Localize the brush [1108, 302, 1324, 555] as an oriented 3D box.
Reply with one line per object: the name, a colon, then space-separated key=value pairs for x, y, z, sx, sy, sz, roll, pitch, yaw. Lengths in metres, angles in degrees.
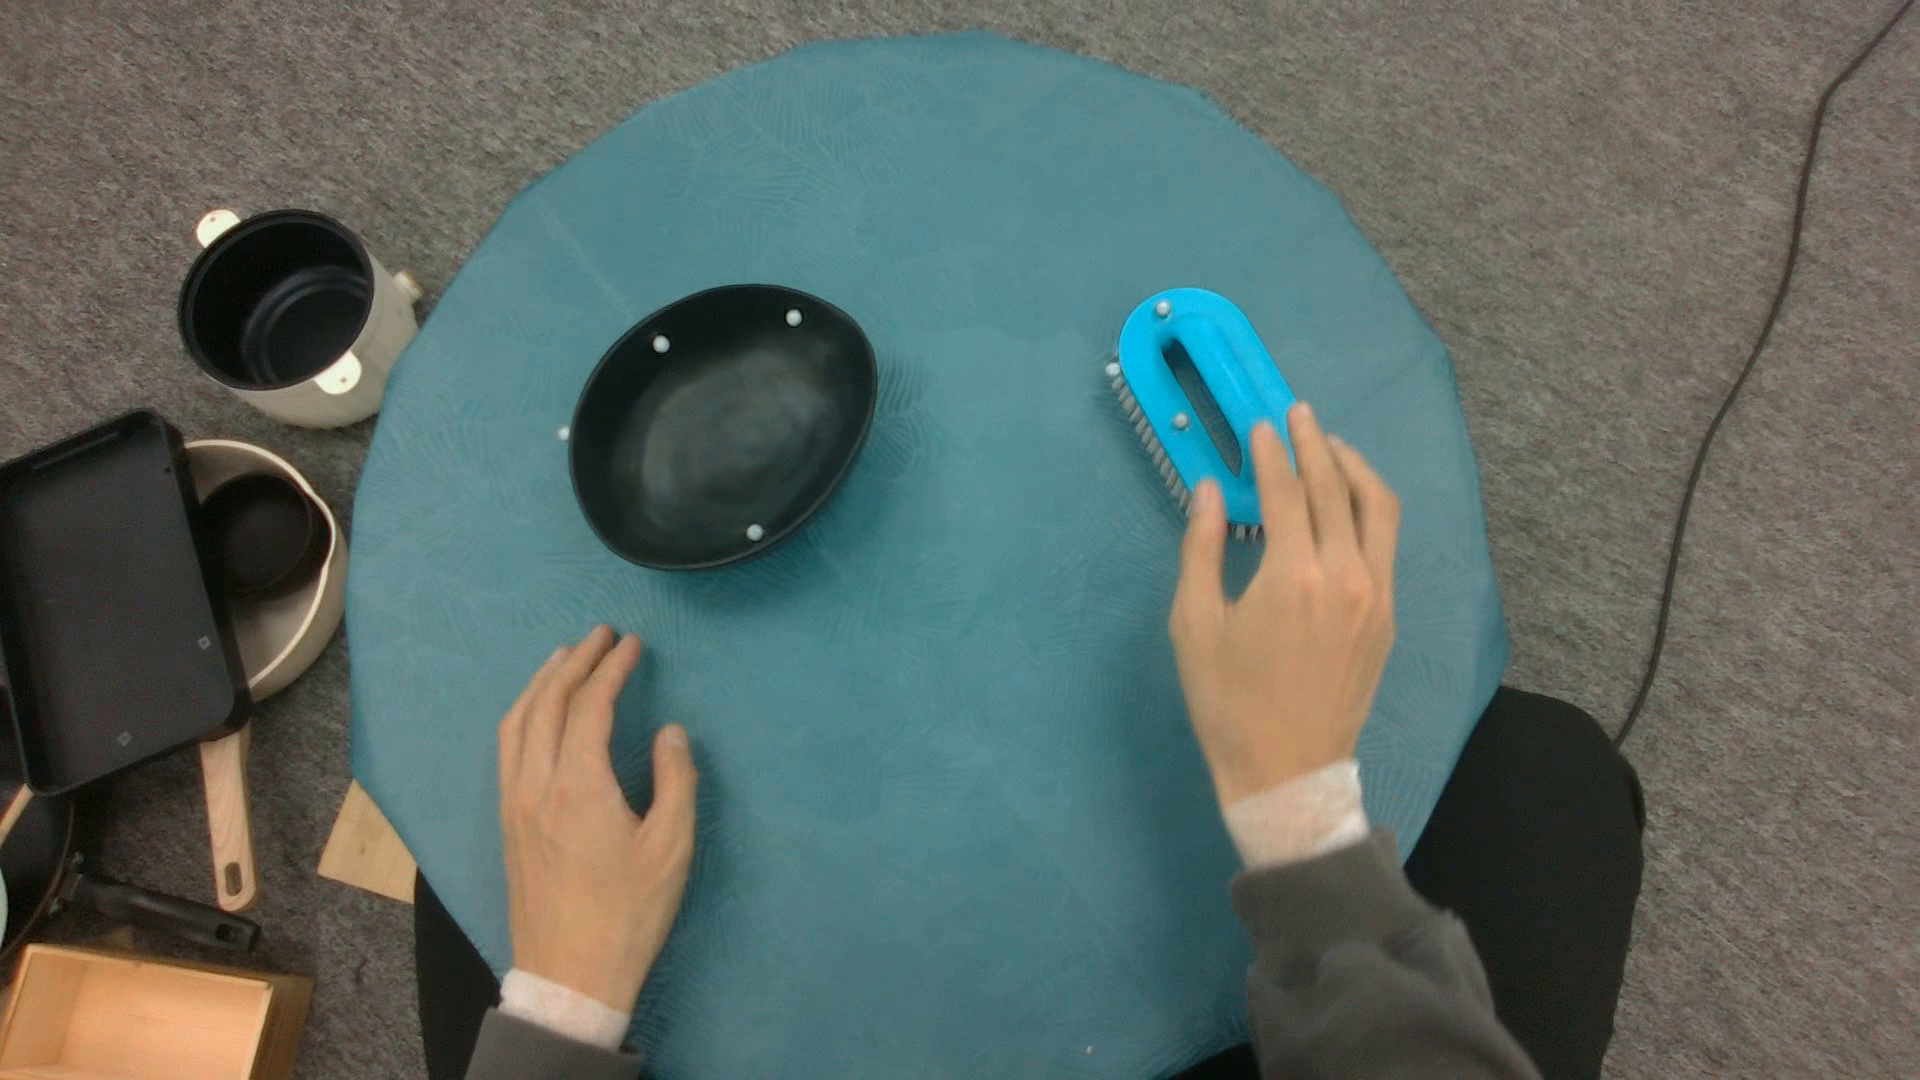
brush: x=0.136 y=-0.066 z=0.717 sx=0.084 sy=0.063 sz=0.142 roll=-22 pitch=74 yaw=-9

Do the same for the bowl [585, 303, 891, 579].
bowl: x=-0.112 y=-0.048 z=0.725 sx=0.137 sy=0.066 sz=0.170 roll=41 pitch=77 yaw=13
